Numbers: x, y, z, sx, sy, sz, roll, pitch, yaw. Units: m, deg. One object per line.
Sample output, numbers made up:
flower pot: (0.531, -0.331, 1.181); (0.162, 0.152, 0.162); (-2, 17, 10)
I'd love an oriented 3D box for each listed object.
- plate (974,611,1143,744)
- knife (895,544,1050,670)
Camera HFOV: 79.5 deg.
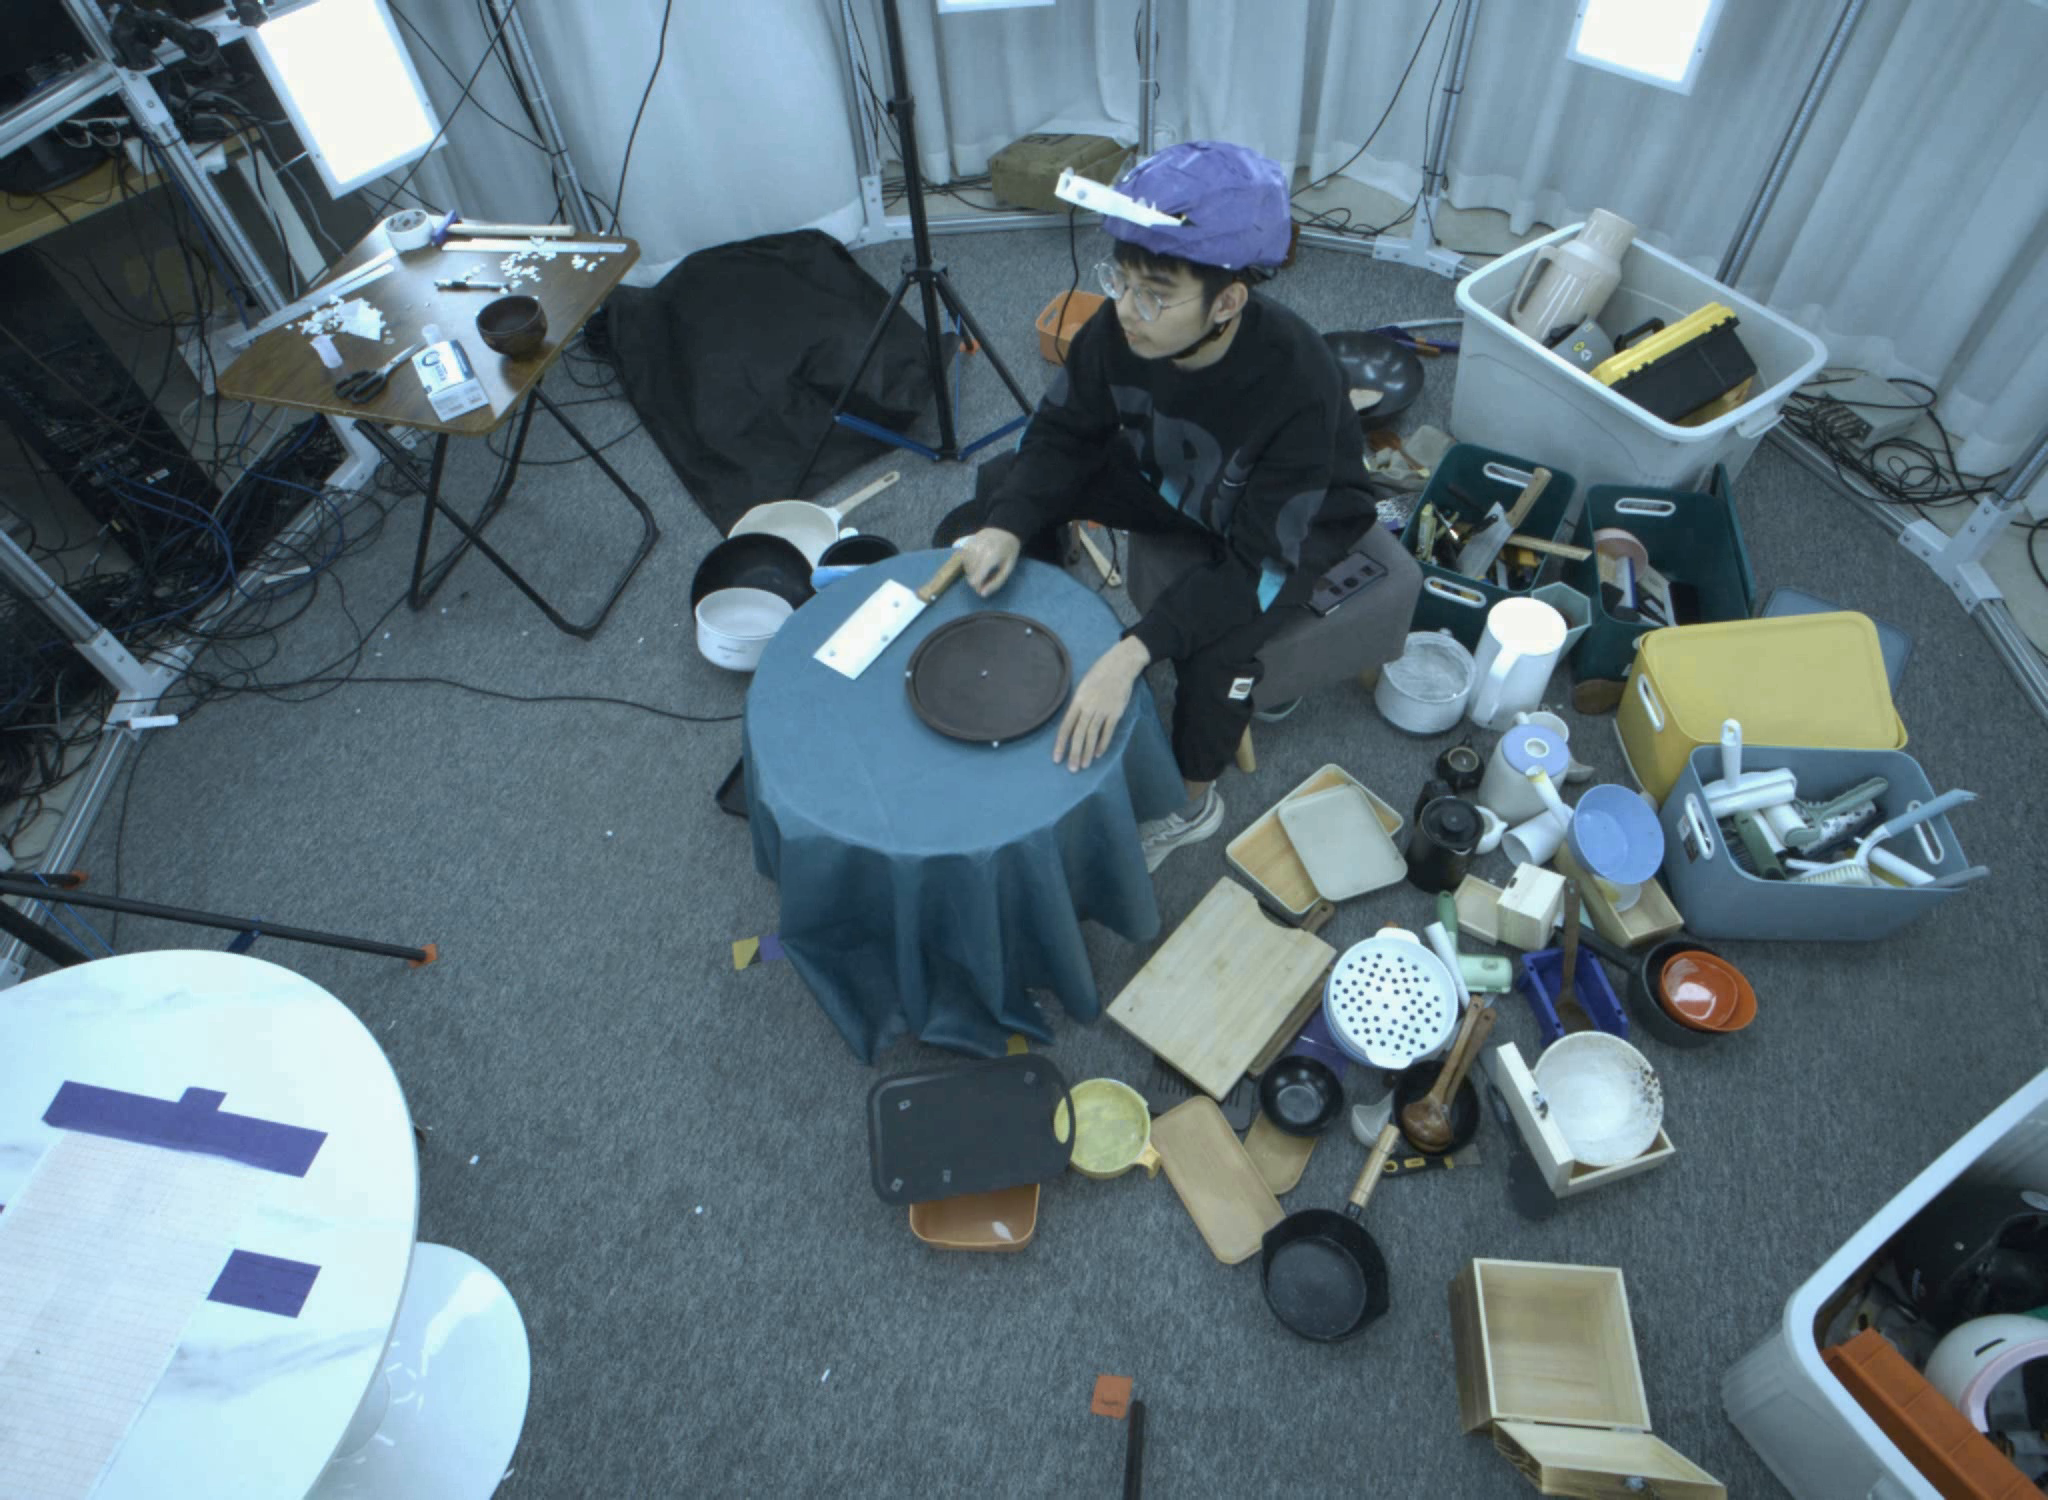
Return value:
plate: (0.052, -0.110, 1.847); (0.254, 0.029, 0.252); (-2, 54, 3)
knife: (-0.086, -0.240, 1.951); (0.091, 0.021, 0.307); (34, 65, 25)
